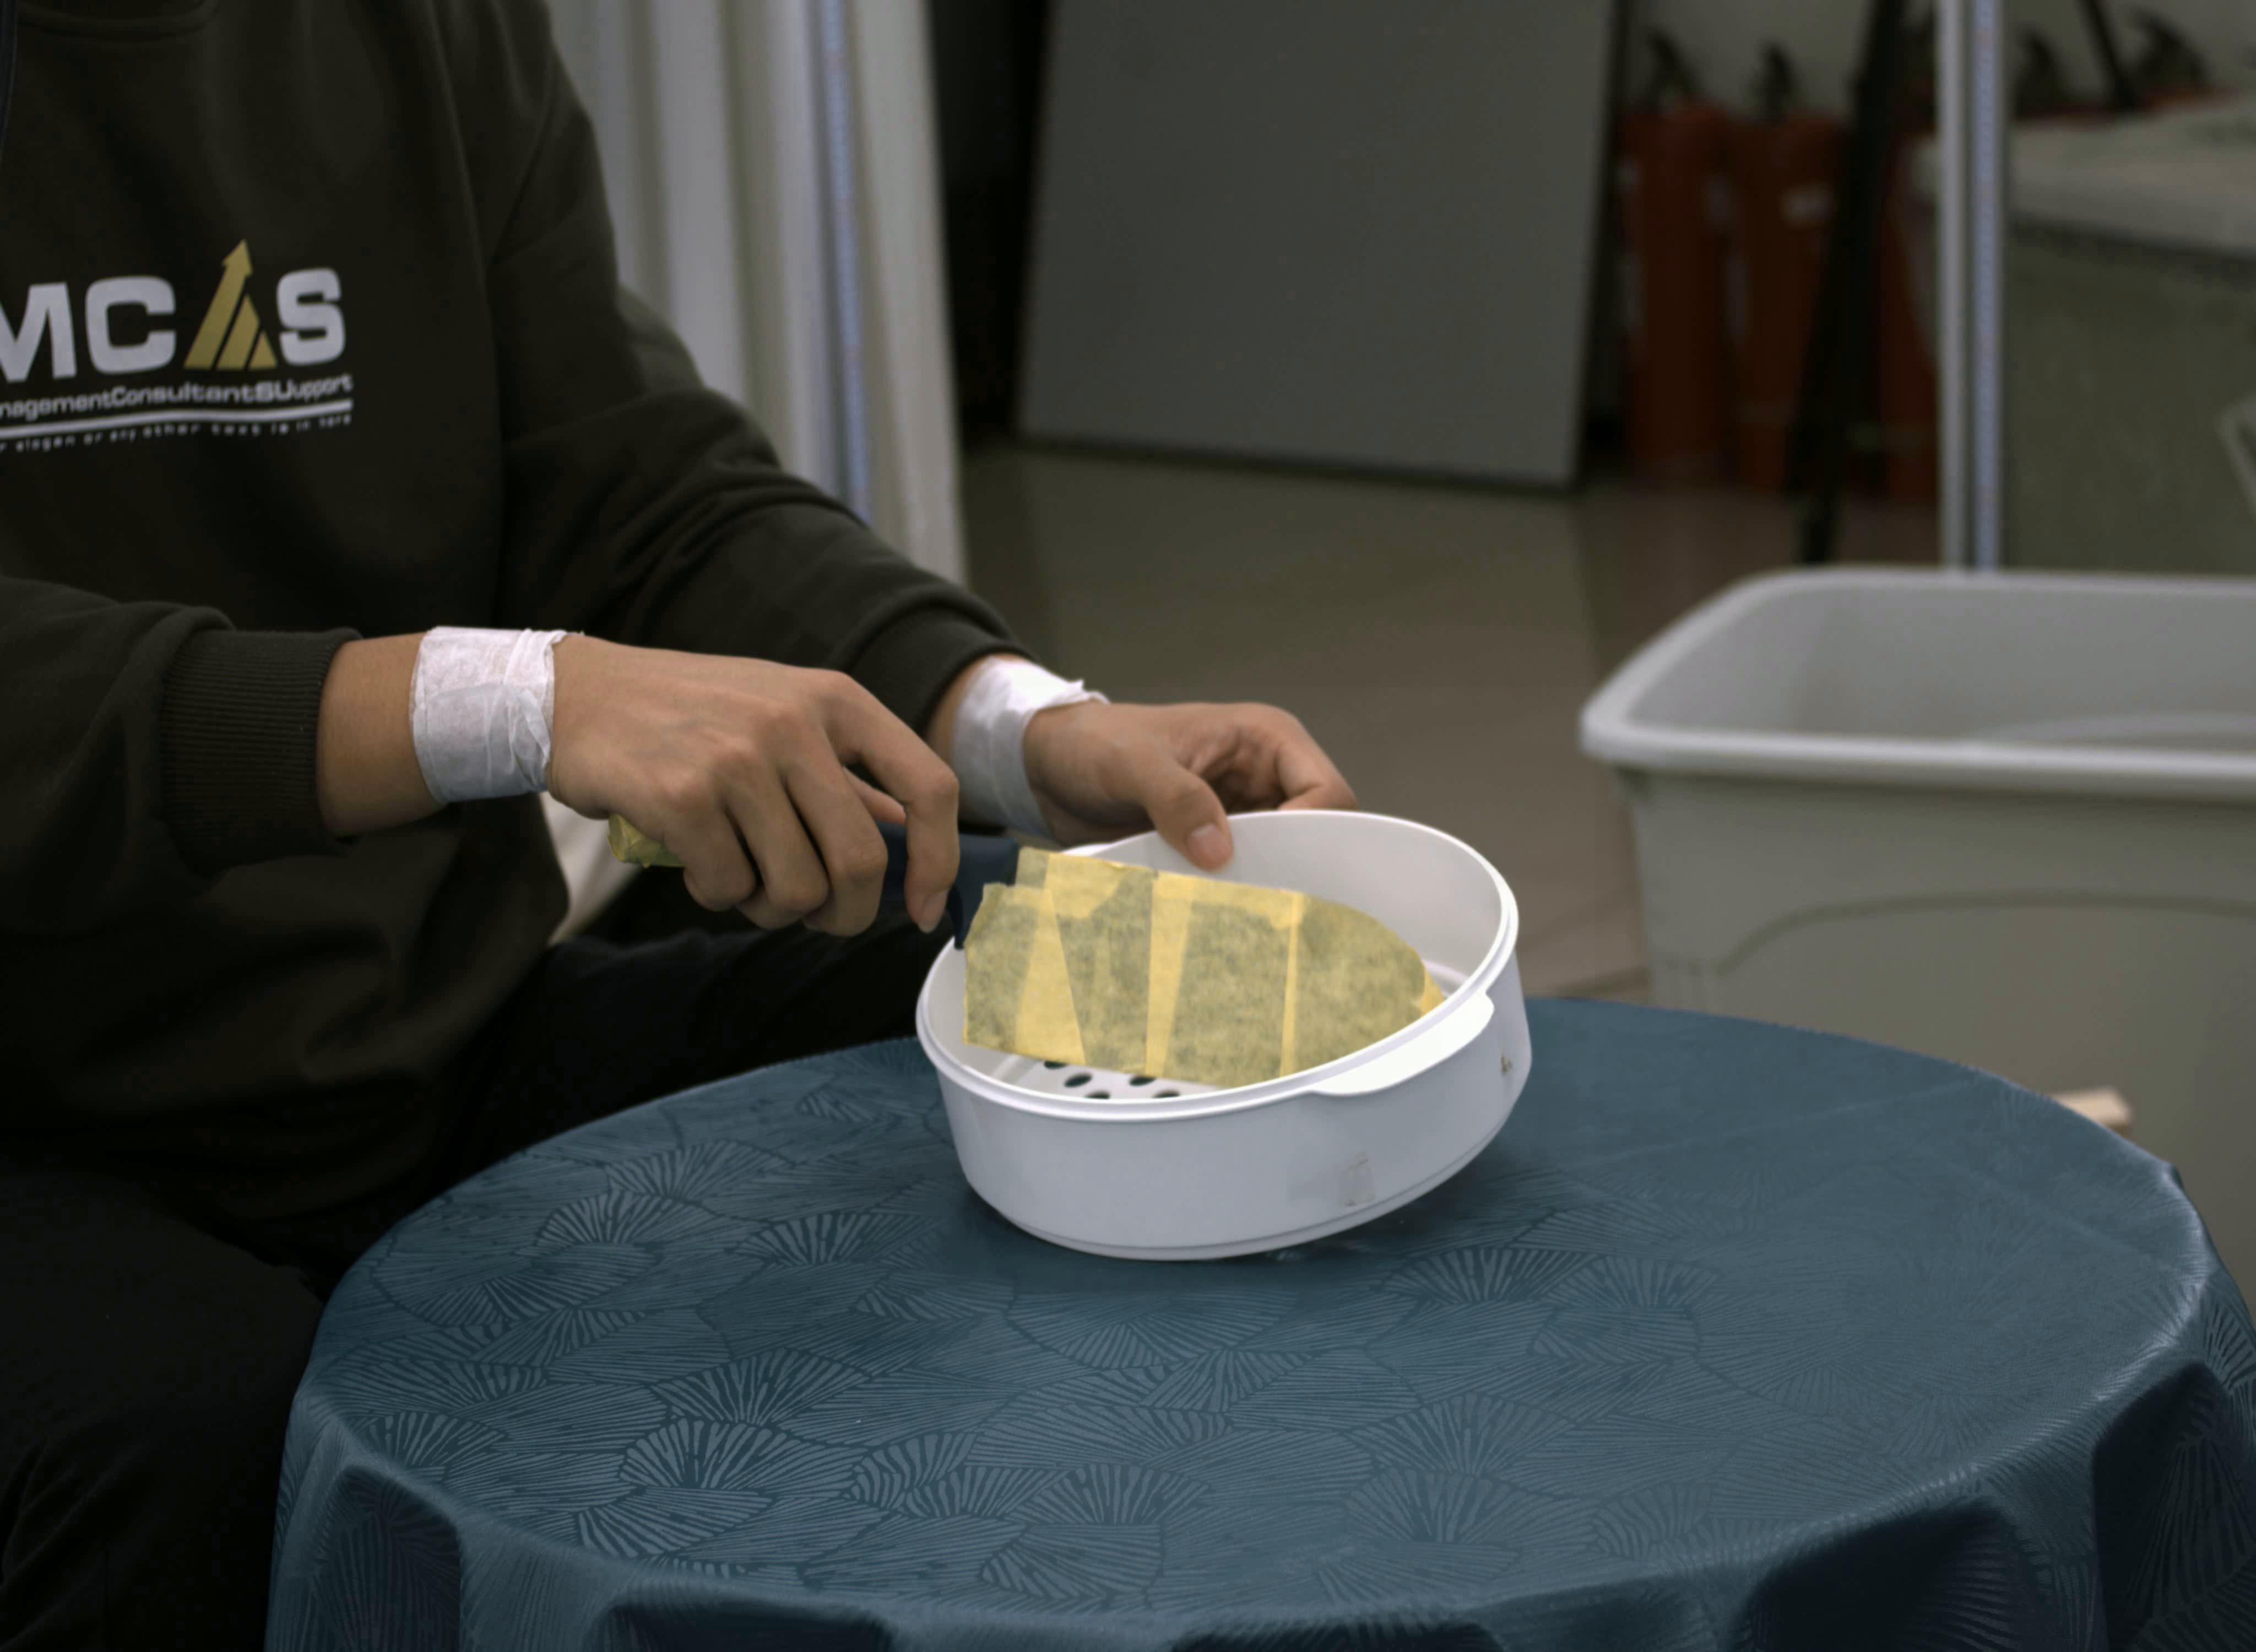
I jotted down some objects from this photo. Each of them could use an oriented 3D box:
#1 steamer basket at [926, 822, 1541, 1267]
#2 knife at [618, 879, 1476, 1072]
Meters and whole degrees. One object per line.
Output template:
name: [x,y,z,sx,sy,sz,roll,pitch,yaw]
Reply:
steamer basket: [0.037,0.071,1.759,0.198,0.069,0.233,-27,26,-28]
knife: [-0.023,0.048,1.735,0.286,0.027,0.081,4,45,2]
